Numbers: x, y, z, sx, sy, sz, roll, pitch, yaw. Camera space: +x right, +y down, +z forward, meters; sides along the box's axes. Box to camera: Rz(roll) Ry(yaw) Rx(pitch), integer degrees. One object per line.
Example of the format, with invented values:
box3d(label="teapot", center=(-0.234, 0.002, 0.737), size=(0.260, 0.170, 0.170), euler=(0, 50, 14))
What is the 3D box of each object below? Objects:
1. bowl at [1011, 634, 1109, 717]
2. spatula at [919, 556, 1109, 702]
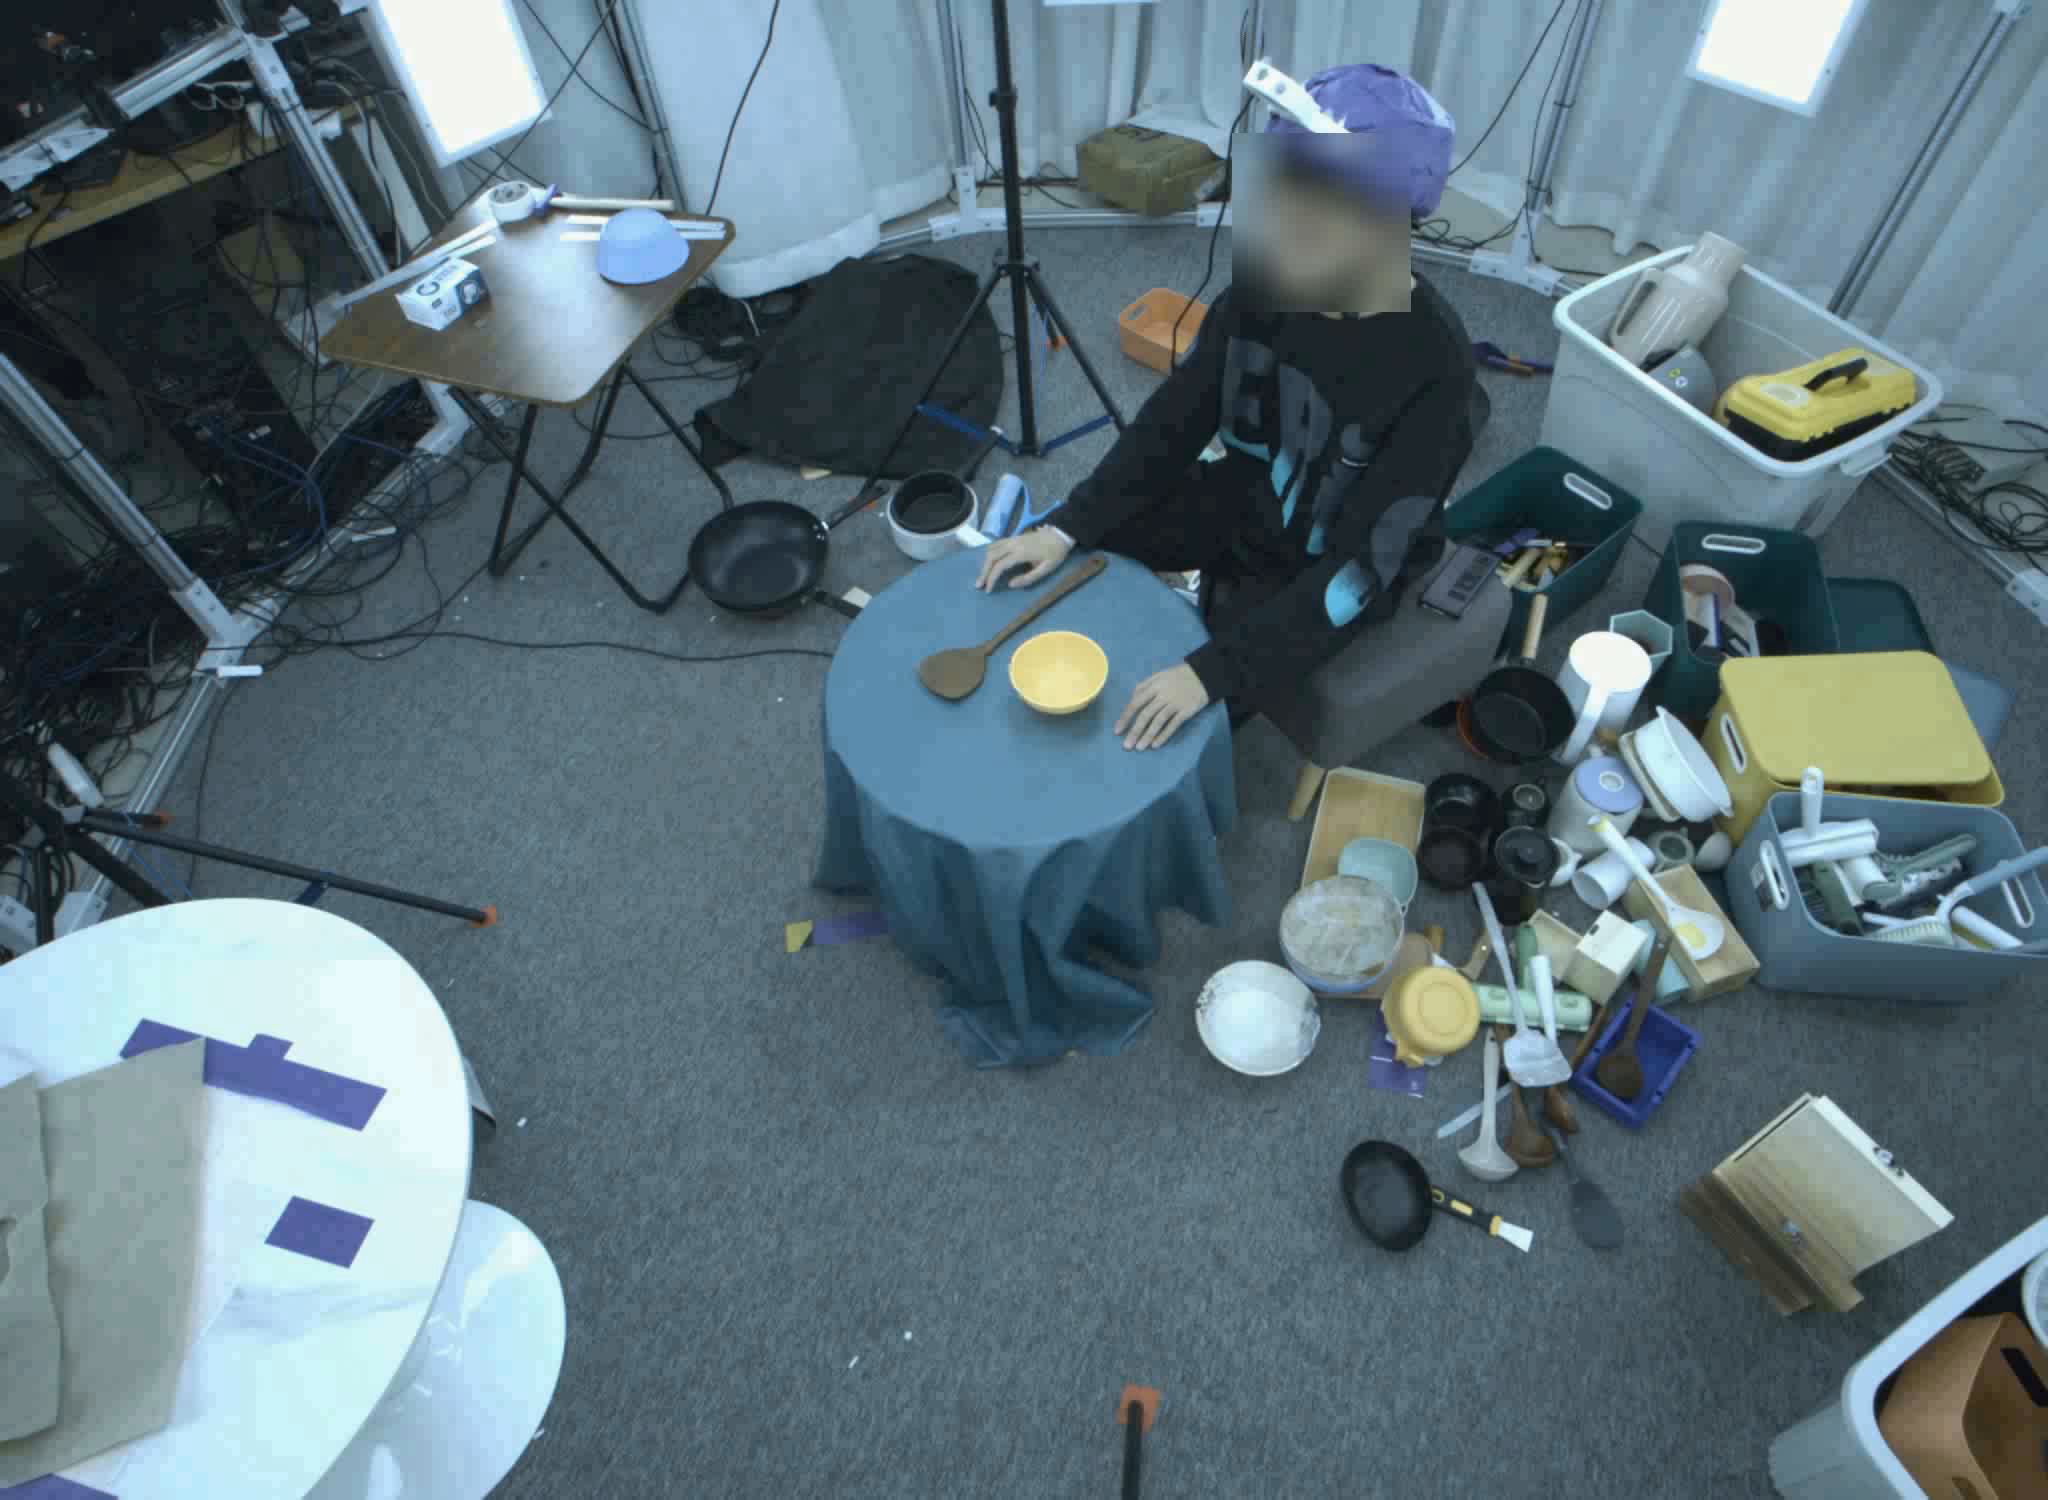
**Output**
box3d(label="bowl", center=(0.053, -0.099, 1.832), size=(0.145, 0.060, 0.144), euler=(1, 56, 0))
box3d(label="spatula", center=(-0.003, -0.201, 1.931), size=(0.094, 0.016, 0.388), euler=(39, 64, 24))
